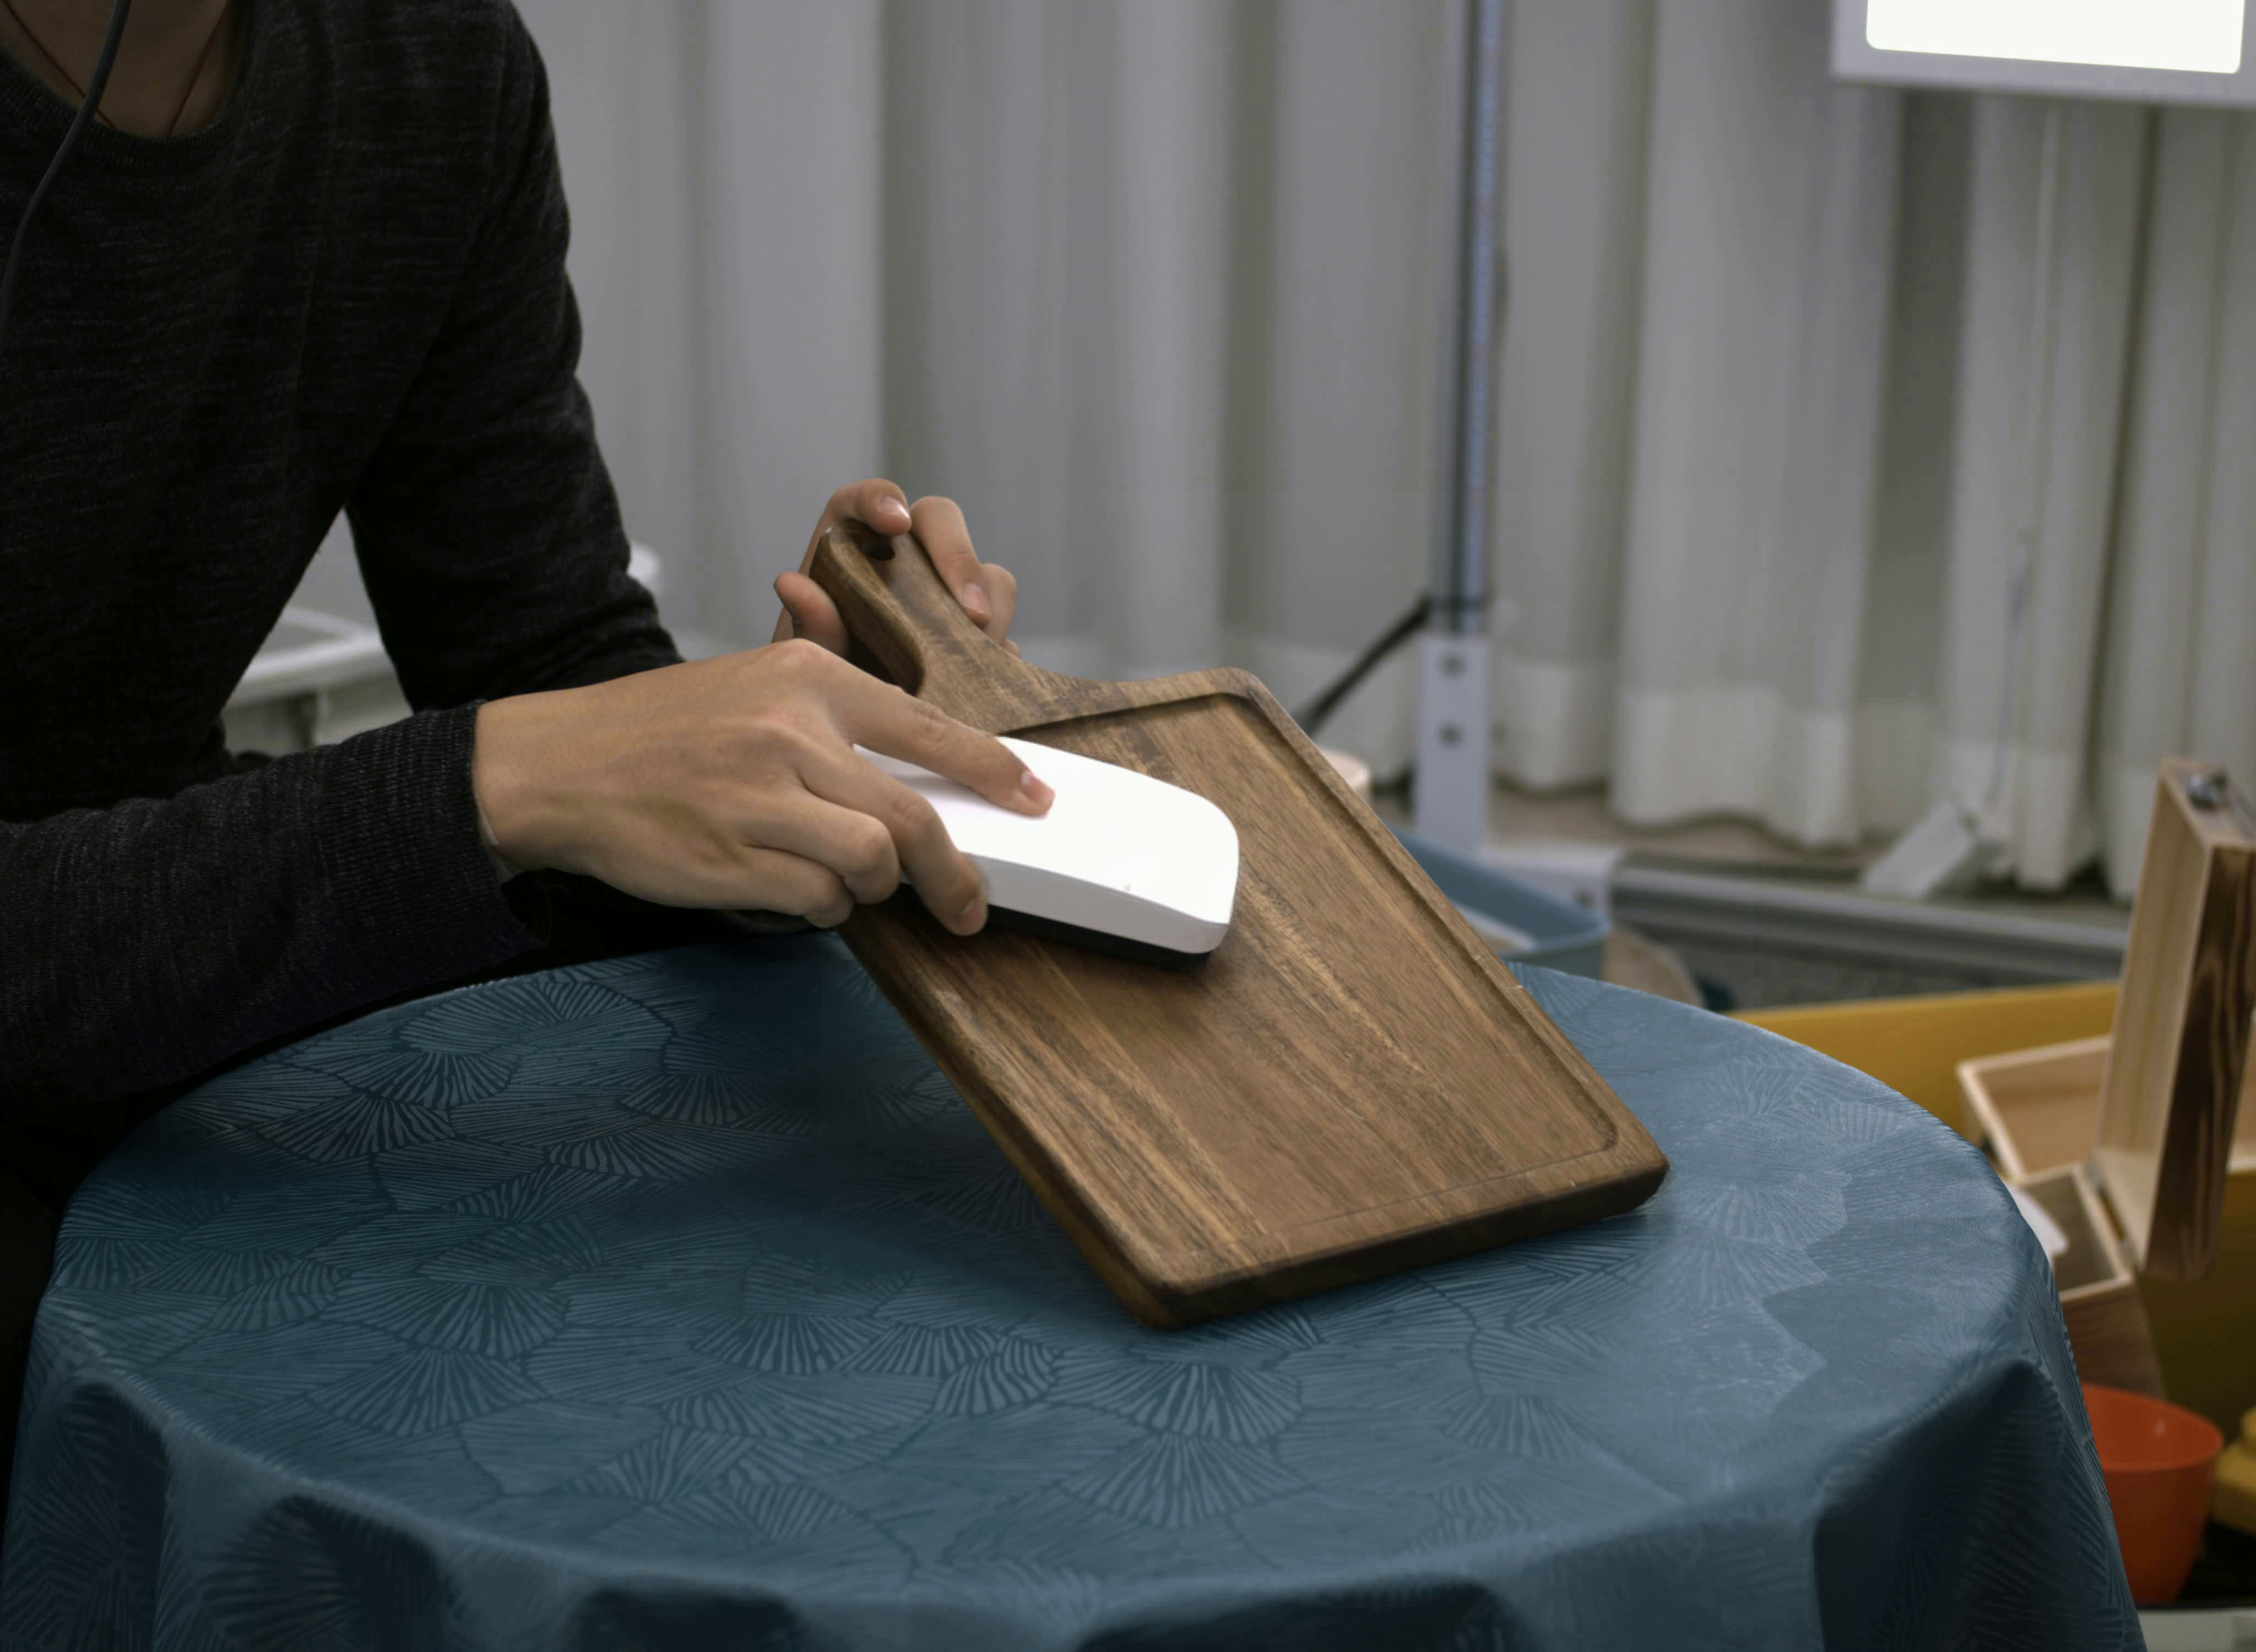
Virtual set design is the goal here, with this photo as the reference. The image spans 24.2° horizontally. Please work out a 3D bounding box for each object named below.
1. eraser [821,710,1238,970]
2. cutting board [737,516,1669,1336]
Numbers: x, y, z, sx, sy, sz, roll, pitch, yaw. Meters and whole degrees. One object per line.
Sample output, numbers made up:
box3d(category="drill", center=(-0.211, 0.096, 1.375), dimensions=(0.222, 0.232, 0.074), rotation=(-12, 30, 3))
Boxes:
box3d(category="eraser", center=(-0.030, 0.002, 1.612), dimensions=(0.131, 0.035, 0.063), rotation=(16, 38, -13))
box3d(category="cutting board", center=(-0.004, 0.015, 1.646), dimensions=(0.202, 0.023, 0.347), rotation=(-11, 47, -35))
